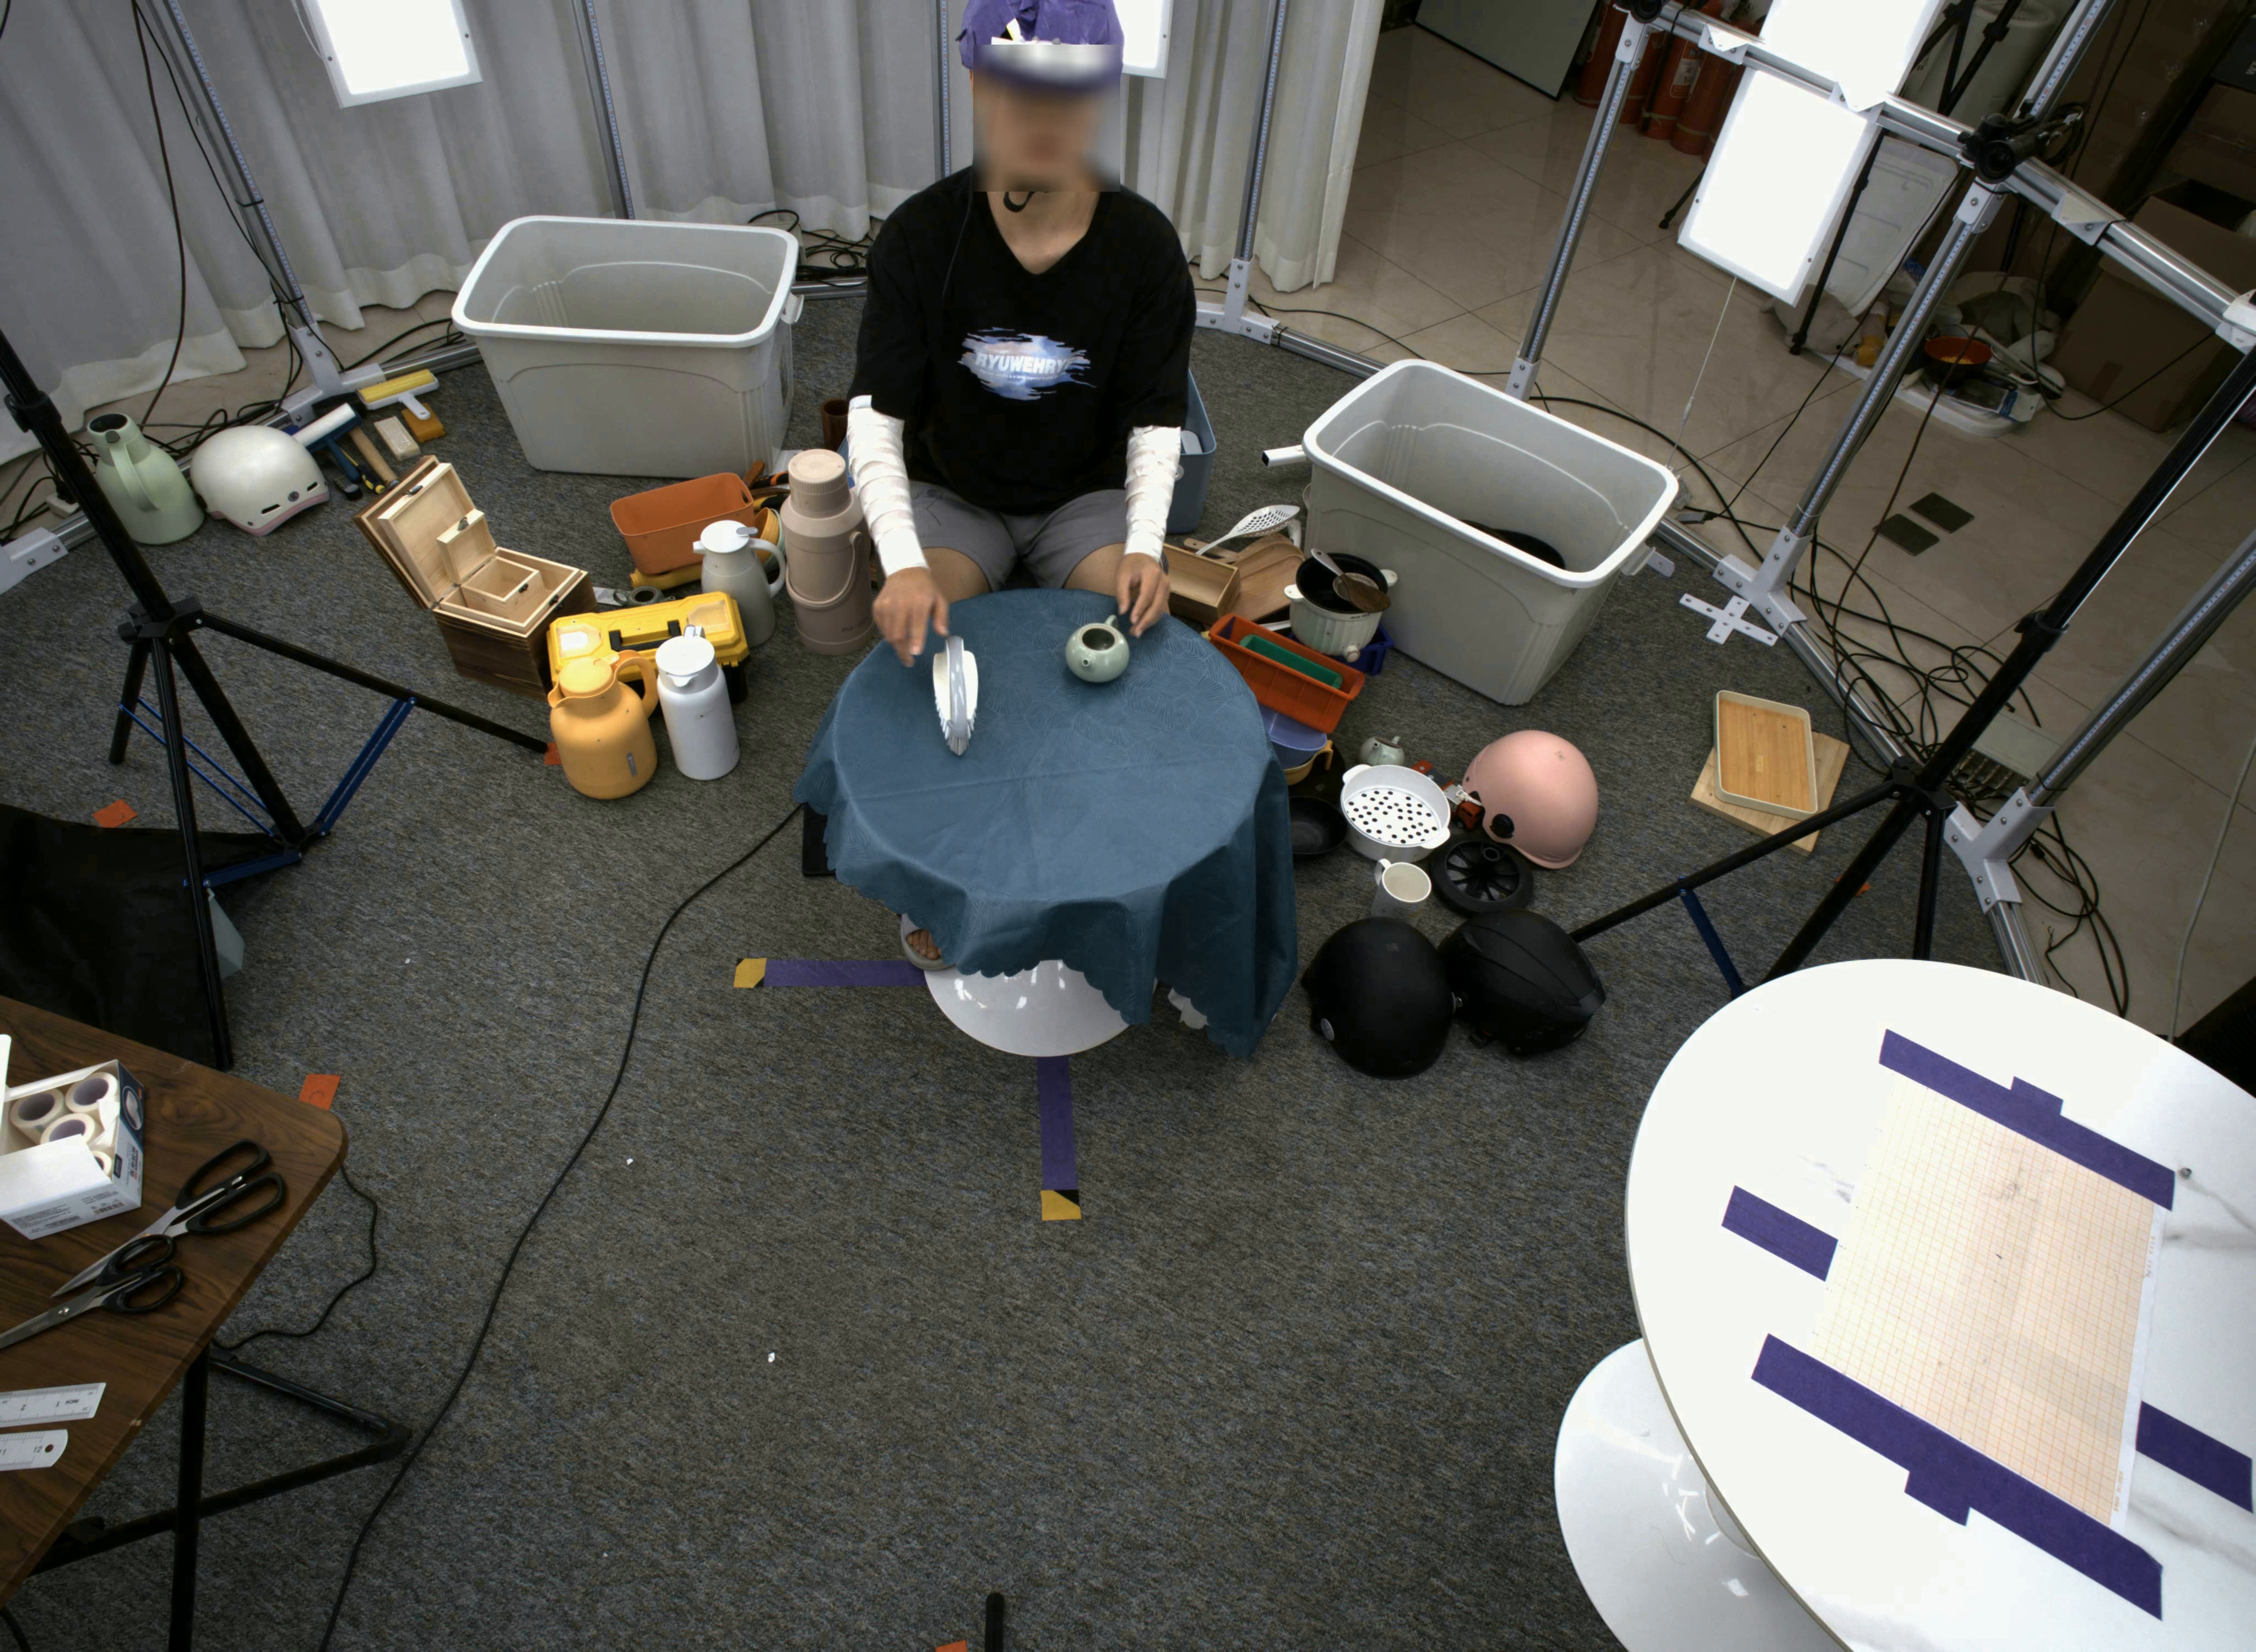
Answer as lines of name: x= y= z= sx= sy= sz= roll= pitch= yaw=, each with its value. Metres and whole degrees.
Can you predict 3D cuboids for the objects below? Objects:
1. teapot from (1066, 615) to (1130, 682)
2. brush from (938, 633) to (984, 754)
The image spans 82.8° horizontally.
teapot: x=-0.039 y=-0.256 z=1.853 sx=0.092 sy=0.059 sz=0.131 roll=19 pitch=51 yaw=15
brush: x=-0.230 y=-0.191 z=1.765 sx=0.061 sy=0.092 sz=0.180 roll=-4 pitch=51 yaw=-3
